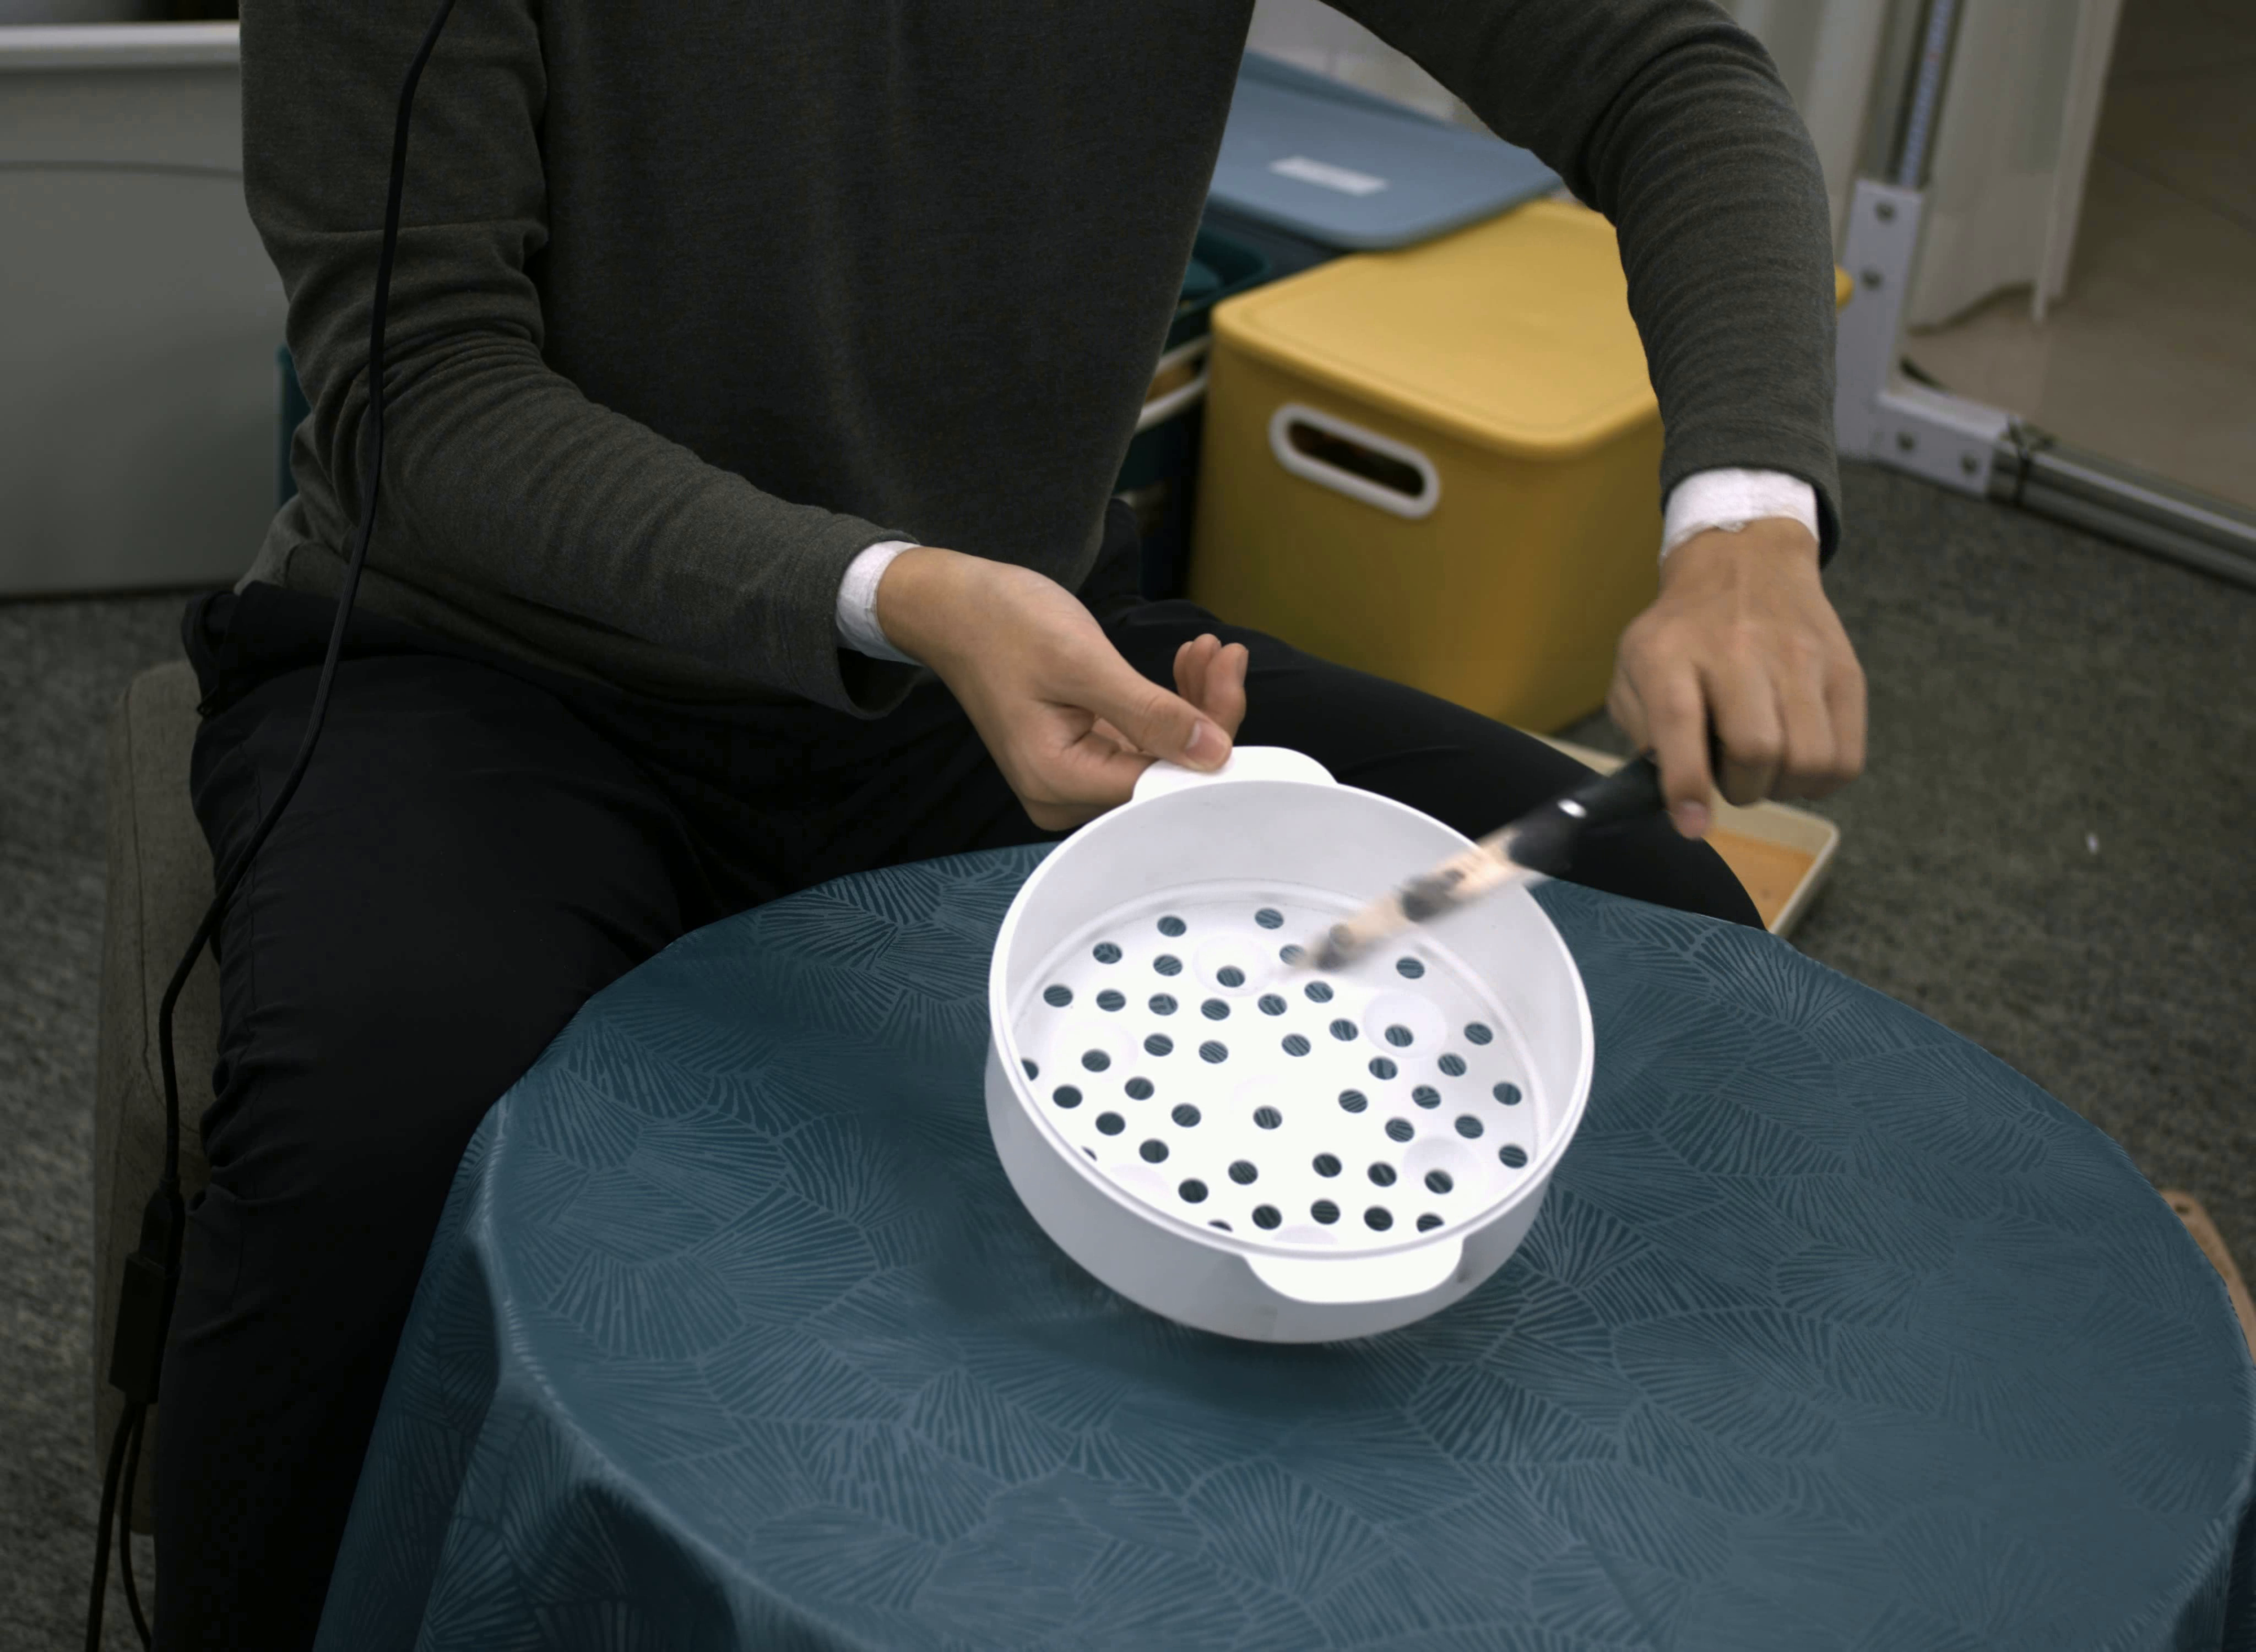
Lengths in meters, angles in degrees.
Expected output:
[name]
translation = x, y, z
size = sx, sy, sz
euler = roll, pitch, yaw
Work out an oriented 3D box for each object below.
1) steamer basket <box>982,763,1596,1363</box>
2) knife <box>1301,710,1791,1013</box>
[steamer basket]
translation = 0.051, 0.083, 1.764
size = 0.201, 0.069, 0.233
euler = -4, 49, -12
[knife]
translation = 0.137, 0.011, 1.757
size = 0.237, 0.016, 0.024
euler = -29, 55, -36
